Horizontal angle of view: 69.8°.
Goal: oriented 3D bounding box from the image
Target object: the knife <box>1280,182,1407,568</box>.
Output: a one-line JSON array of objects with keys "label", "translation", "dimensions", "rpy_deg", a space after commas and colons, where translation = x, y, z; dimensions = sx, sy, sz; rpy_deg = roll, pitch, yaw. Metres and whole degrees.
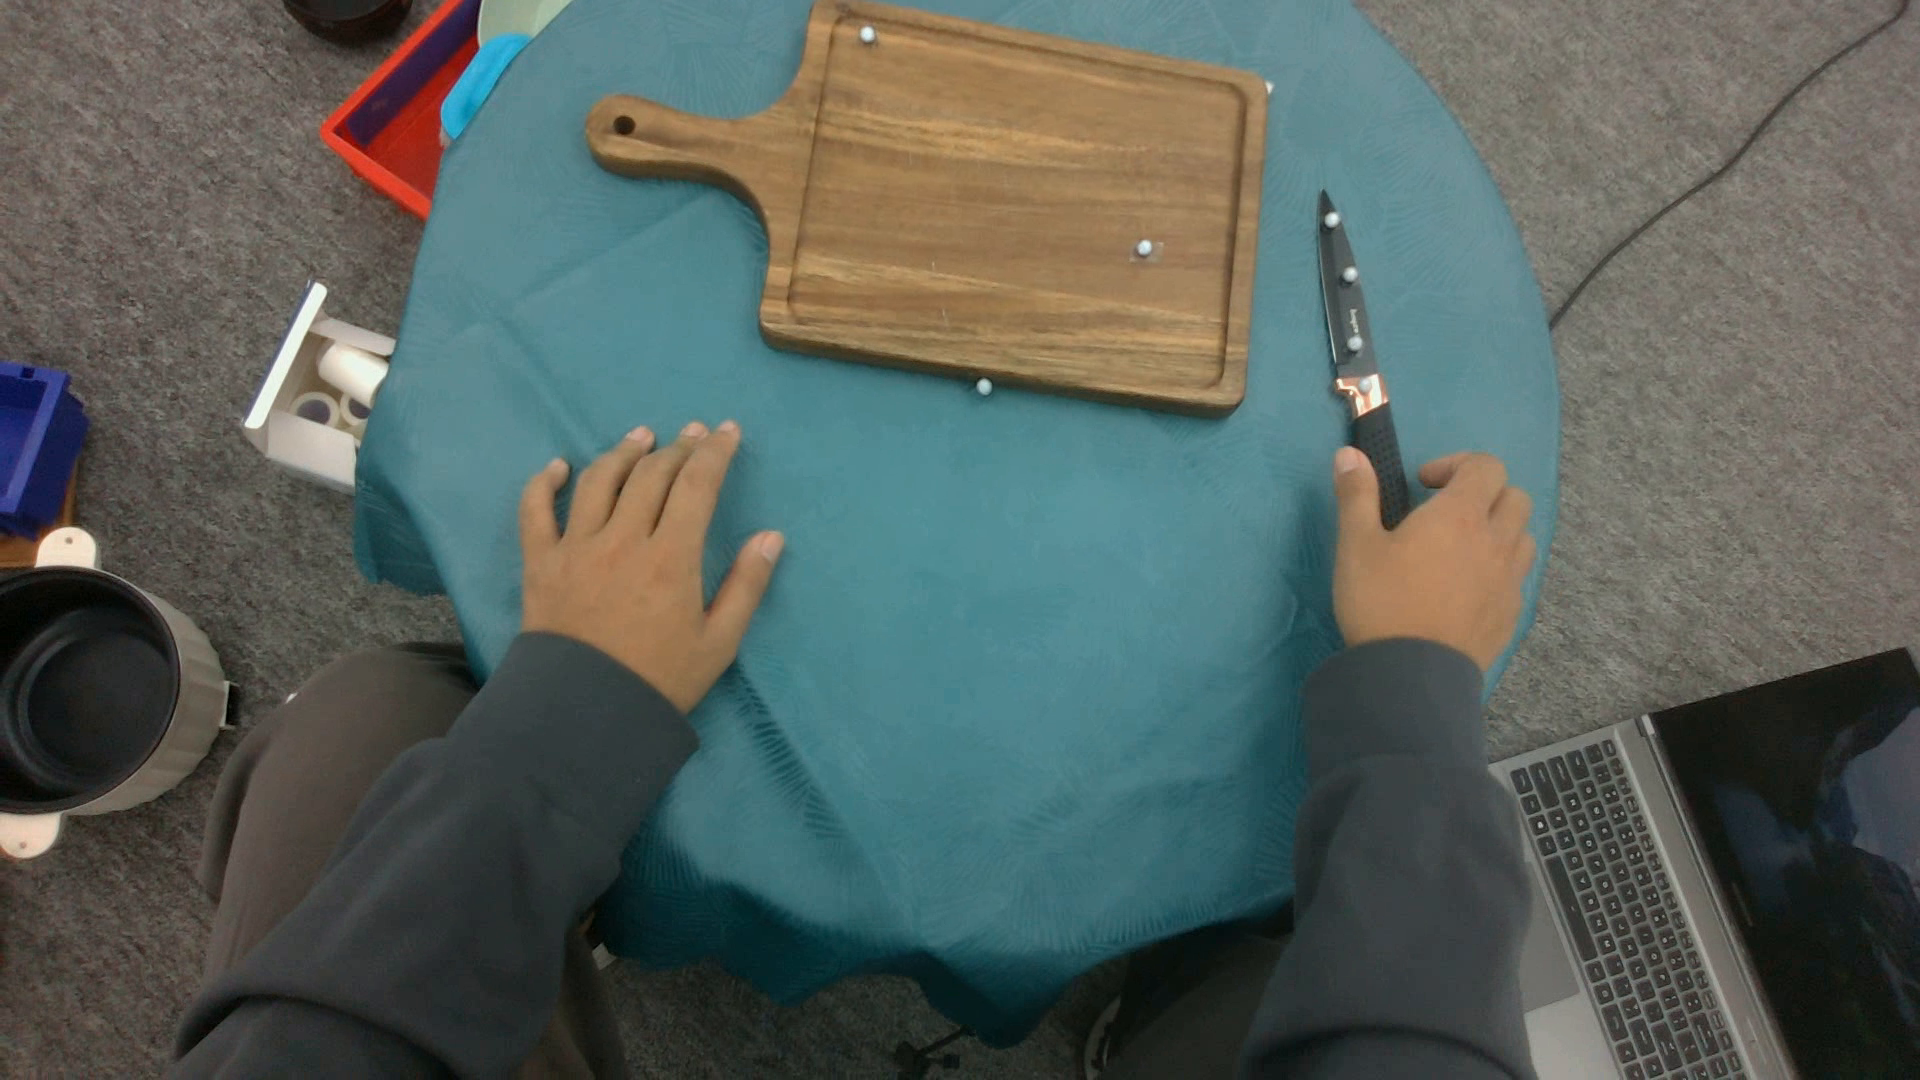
[{"label": "knife", "translation": [0.205, -0.093, 0.738], "dimensions": [0.026, 0.017, 0.226], "rpy_deg": [-9, 75, -2]}]

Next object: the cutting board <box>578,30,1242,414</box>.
[{"label": "cutting board", "translation": [-0.023, -0.175, 0.732], "dimensions": [0.352, 0.023, 0.201], "rpy_deg": [5, 74, -4]}]
